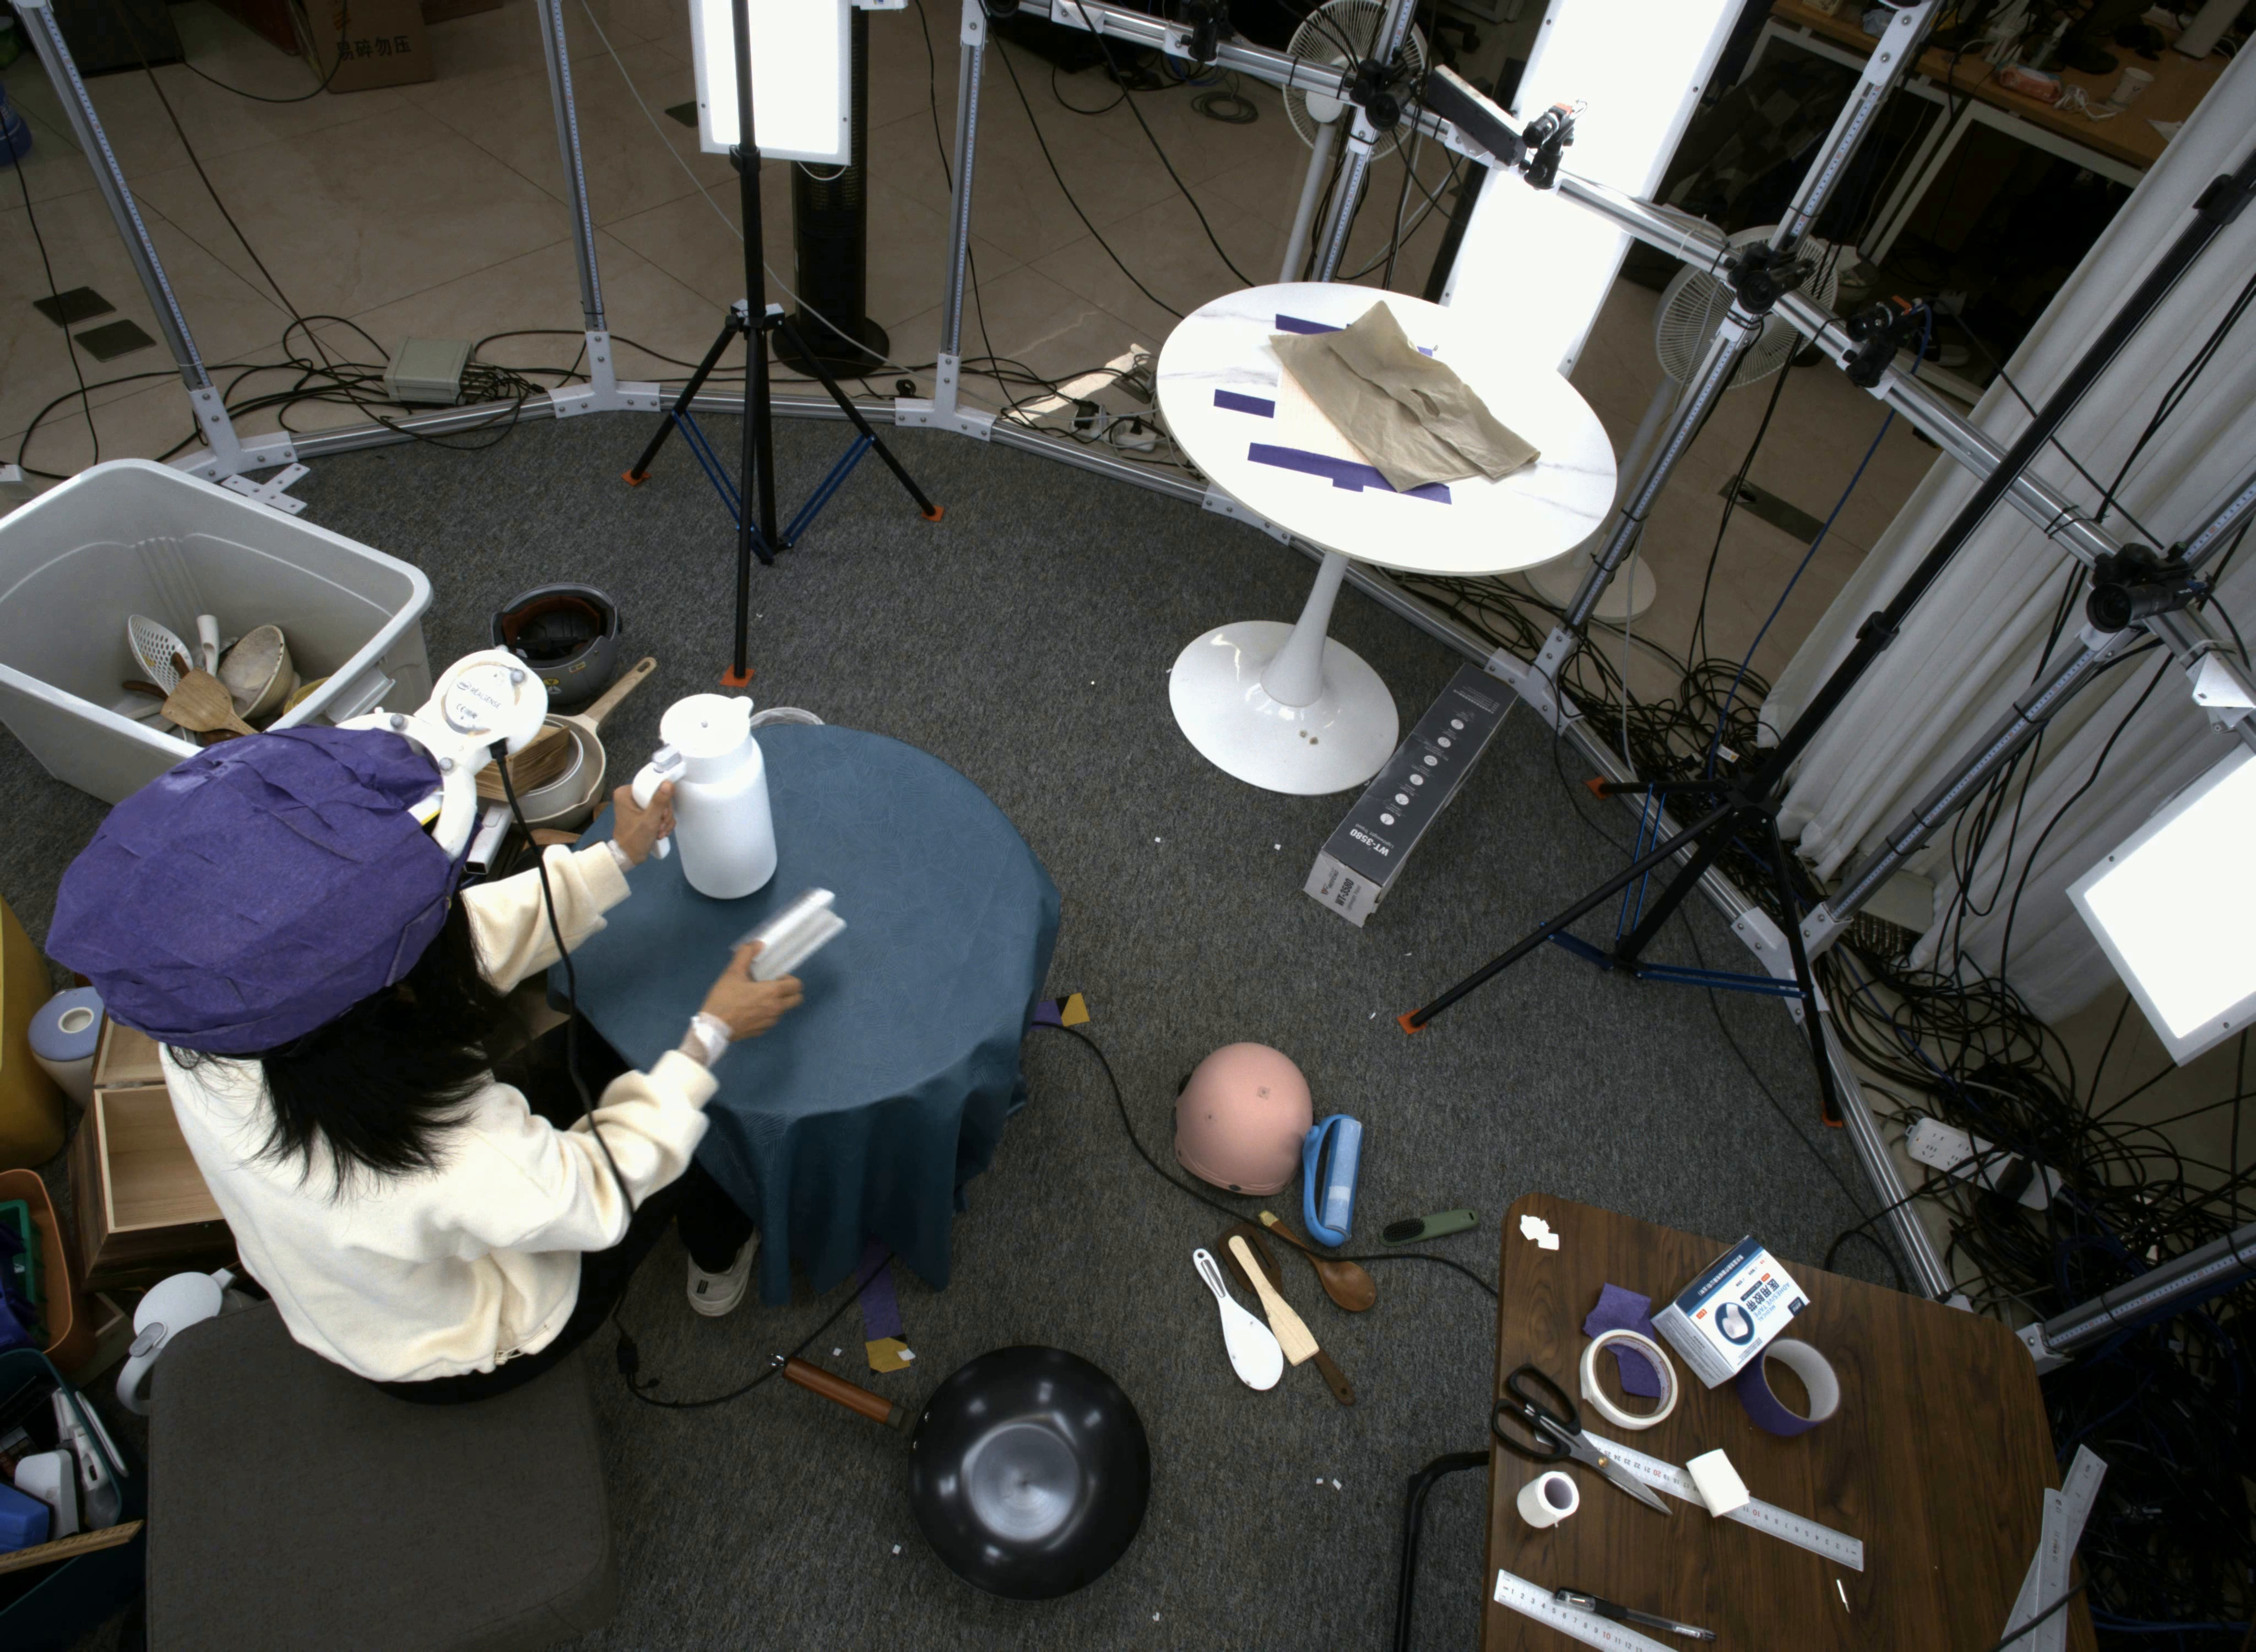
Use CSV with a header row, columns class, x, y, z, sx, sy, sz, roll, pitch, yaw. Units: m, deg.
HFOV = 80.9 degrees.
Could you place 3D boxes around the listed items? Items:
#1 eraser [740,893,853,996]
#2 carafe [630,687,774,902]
class,x,y,z,sx,sy,sz,roll,pitch,yaw
eraser,-0.390,0.135,1.525,0.045,0.051,0.134,7,37,34
carafe,-0.503,-0.024,1.534,0.121,0.275,0.173,34,53,16
